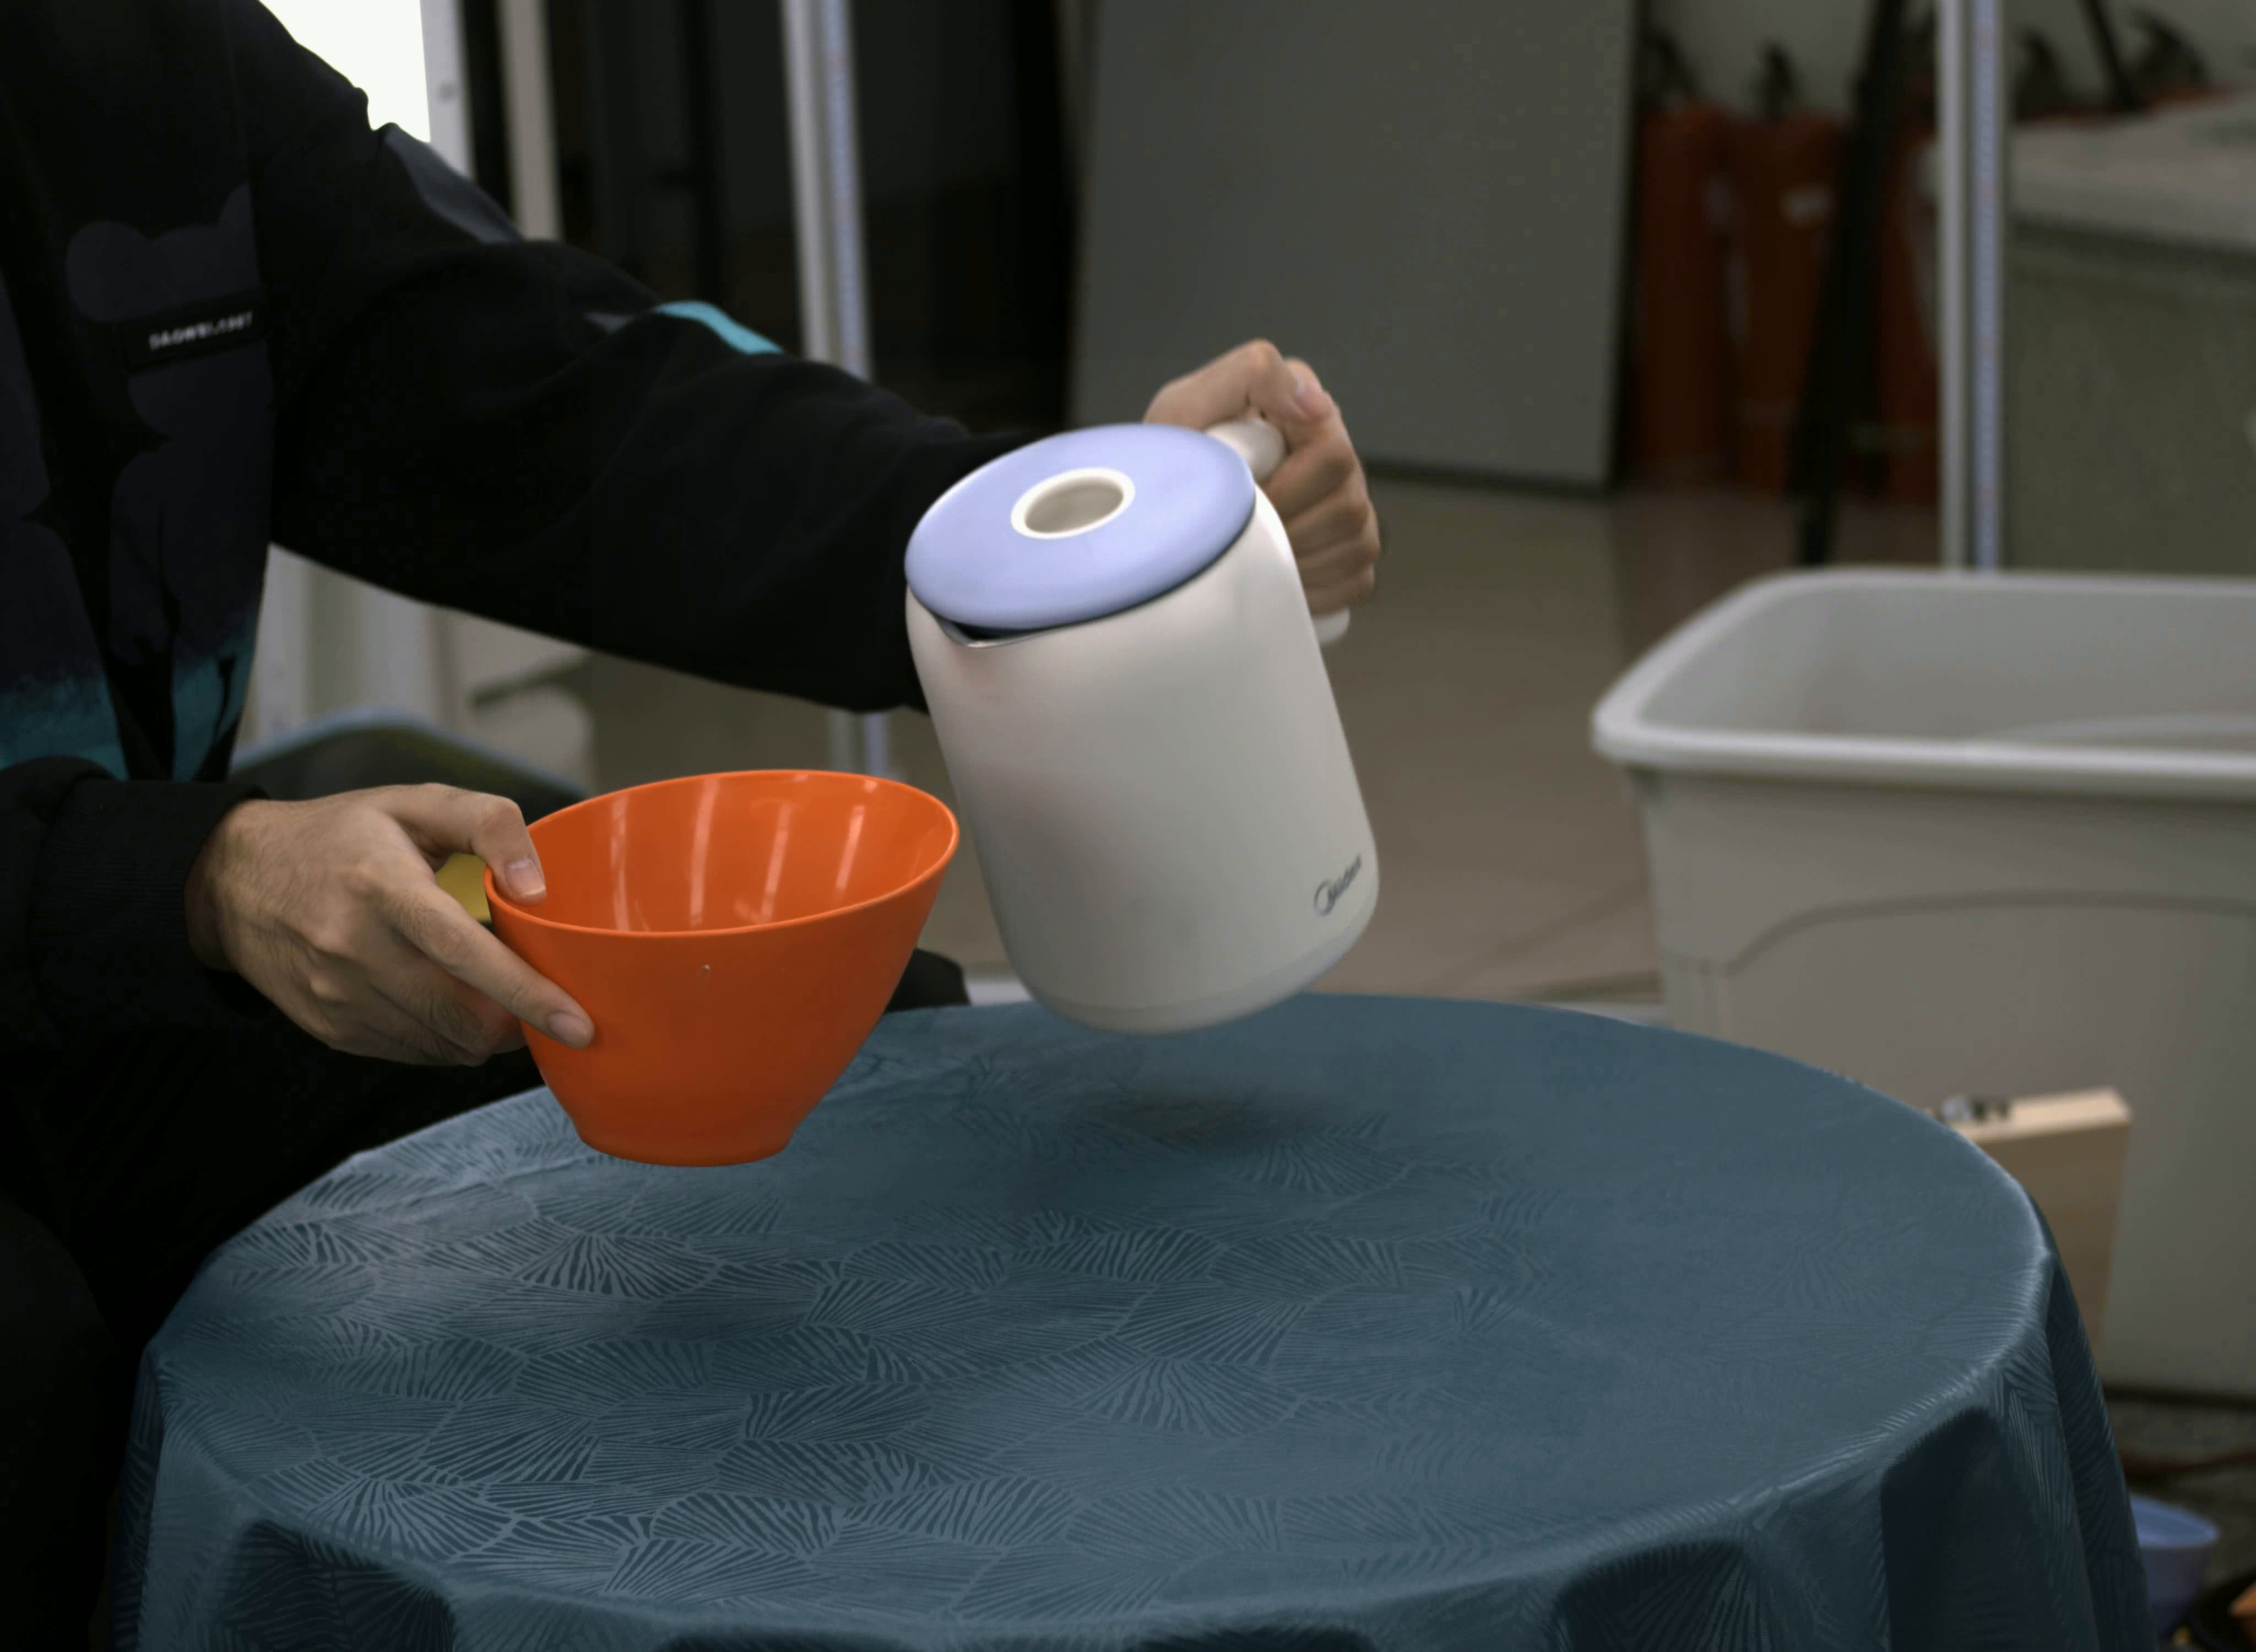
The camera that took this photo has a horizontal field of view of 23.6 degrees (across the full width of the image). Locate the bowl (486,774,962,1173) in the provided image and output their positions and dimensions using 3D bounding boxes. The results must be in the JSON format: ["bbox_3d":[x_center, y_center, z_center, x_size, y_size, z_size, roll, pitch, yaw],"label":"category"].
[{"bbox_3d":[-0.126,0.047,1.677,0.146,0.106,0.148,3,12,-2],"label":"bowl"}]

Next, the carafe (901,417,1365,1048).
[{"bbox_3d":[0.014,-0.044,1.811,0.133,0.183,0.189,7,35,33],"label":"carafe"}]
